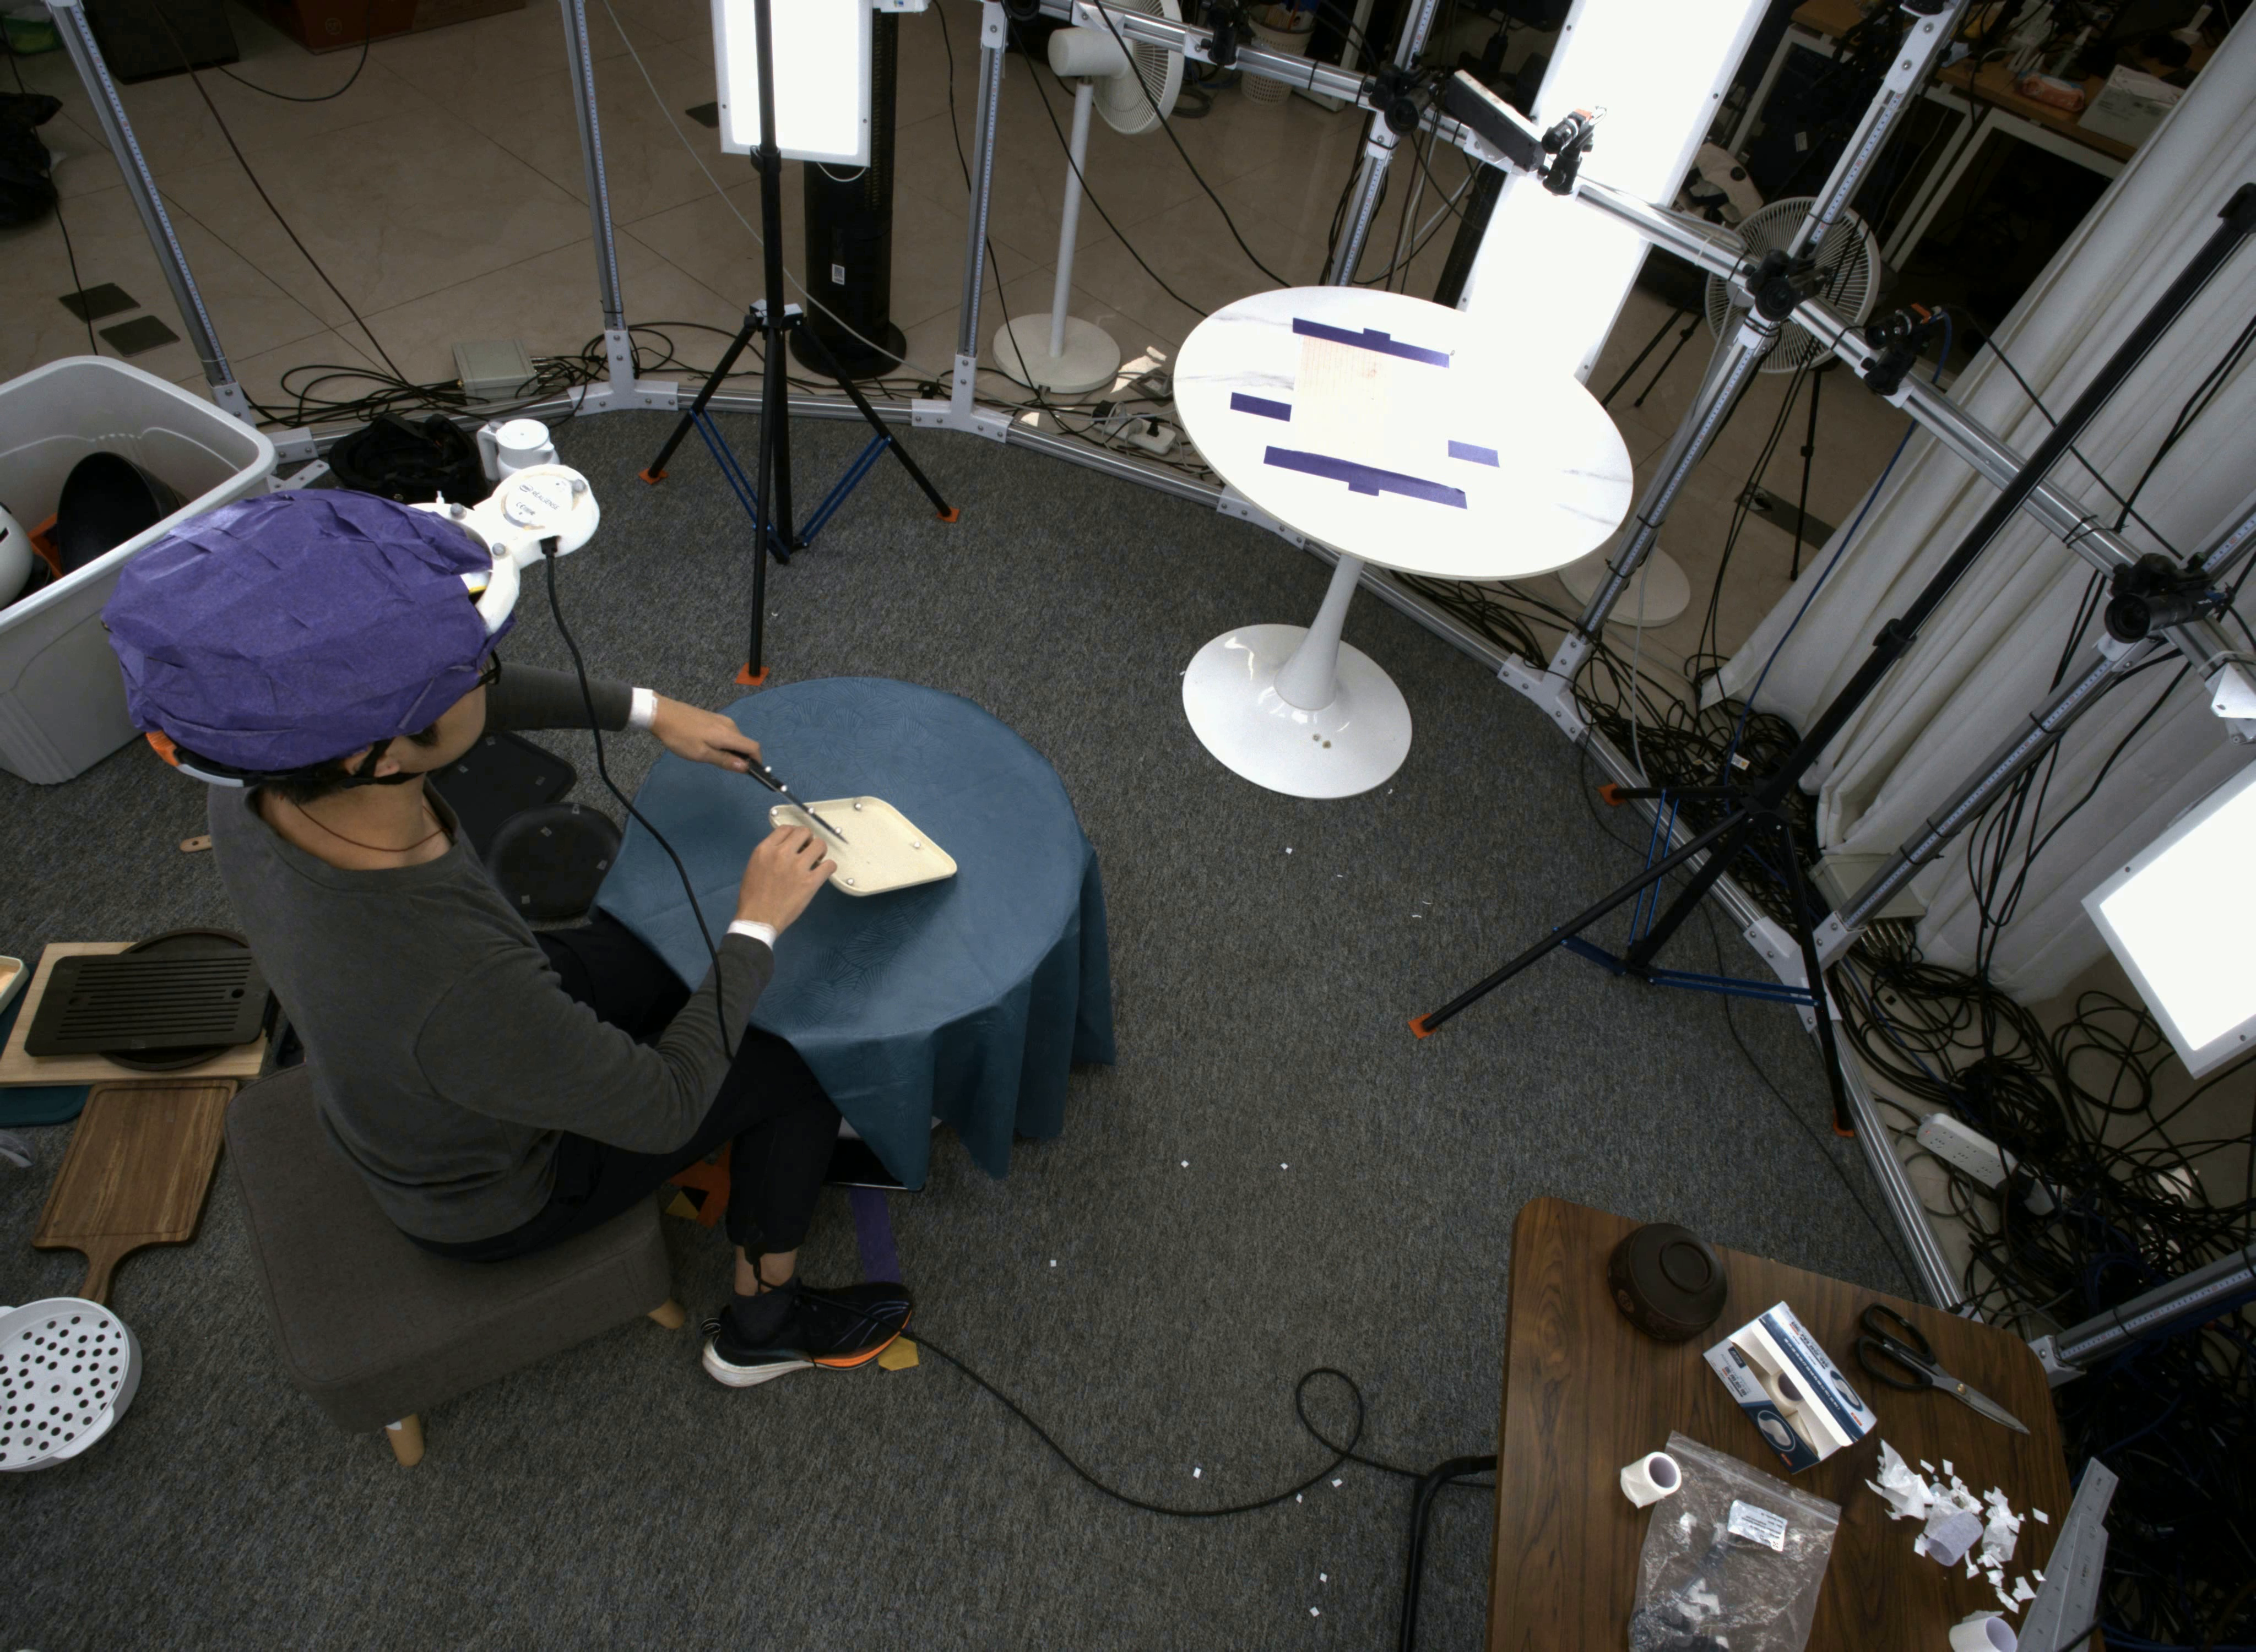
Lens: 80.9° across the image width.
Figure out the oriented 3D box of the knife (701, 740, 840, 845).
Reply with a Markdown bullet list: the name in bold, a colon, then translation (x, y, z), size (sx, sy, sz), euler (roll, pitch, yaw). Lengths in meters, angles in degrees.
- **knife**: translation (-0.451, -0.042, 1.622), size (0.234, 0.016, 0.025), euler (35, 14, 12)

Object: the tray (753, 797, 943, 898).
- **tray**: translation (-0.352, 0.025, 1.646), size (0.168, 0.017, 0.242), euler (40, 20, 16)
